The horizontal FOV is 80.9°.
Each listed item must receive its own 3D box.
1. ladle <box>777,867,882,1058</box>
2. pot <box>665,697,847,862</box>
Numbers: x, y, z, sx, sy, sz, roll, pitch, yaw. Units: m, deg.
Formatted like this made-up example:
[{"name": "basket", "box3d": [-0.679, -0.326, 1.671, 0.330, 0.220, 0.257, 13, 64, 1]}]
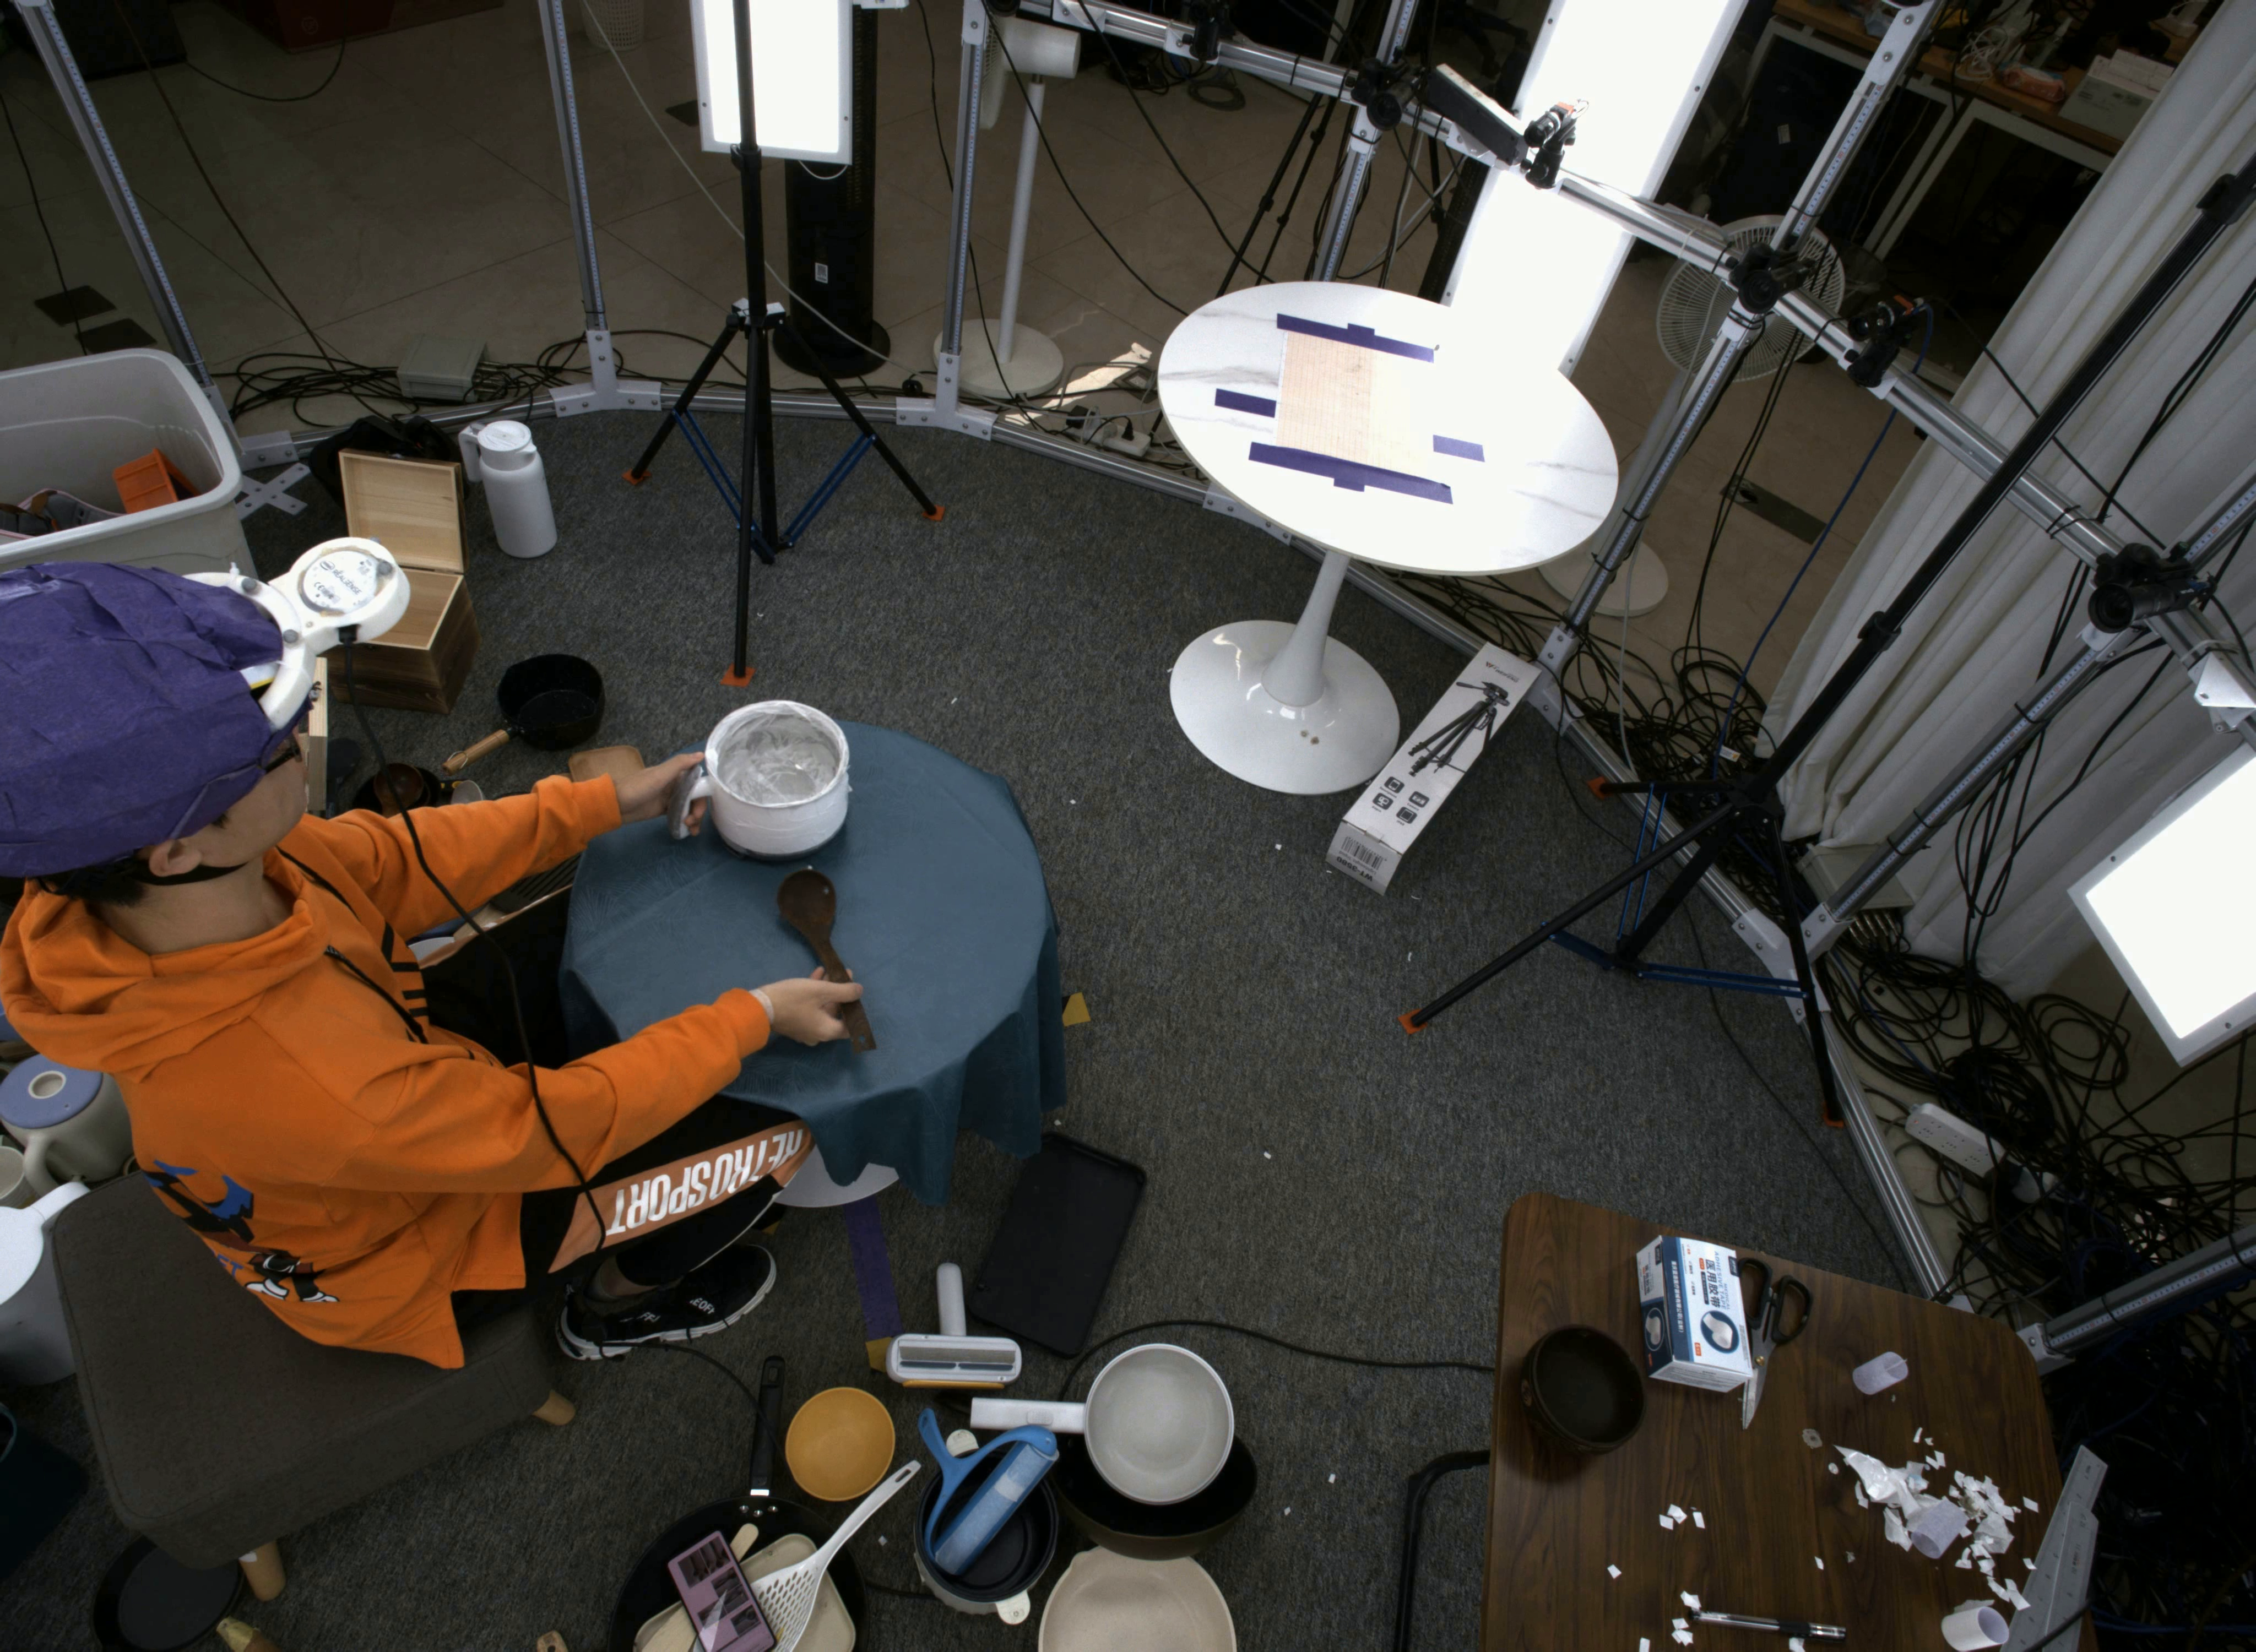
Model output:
[{"name": "ladle", "box3d": [-0.352, 0.153, 1.550, 0.076, 0.073, 0.264, -15, 45, -25]}, {"name": "pot", "box3d": [-0.475, -0.049, 1.647, 0.235, 0.139, 0.174, -16, 58, -25]}]
